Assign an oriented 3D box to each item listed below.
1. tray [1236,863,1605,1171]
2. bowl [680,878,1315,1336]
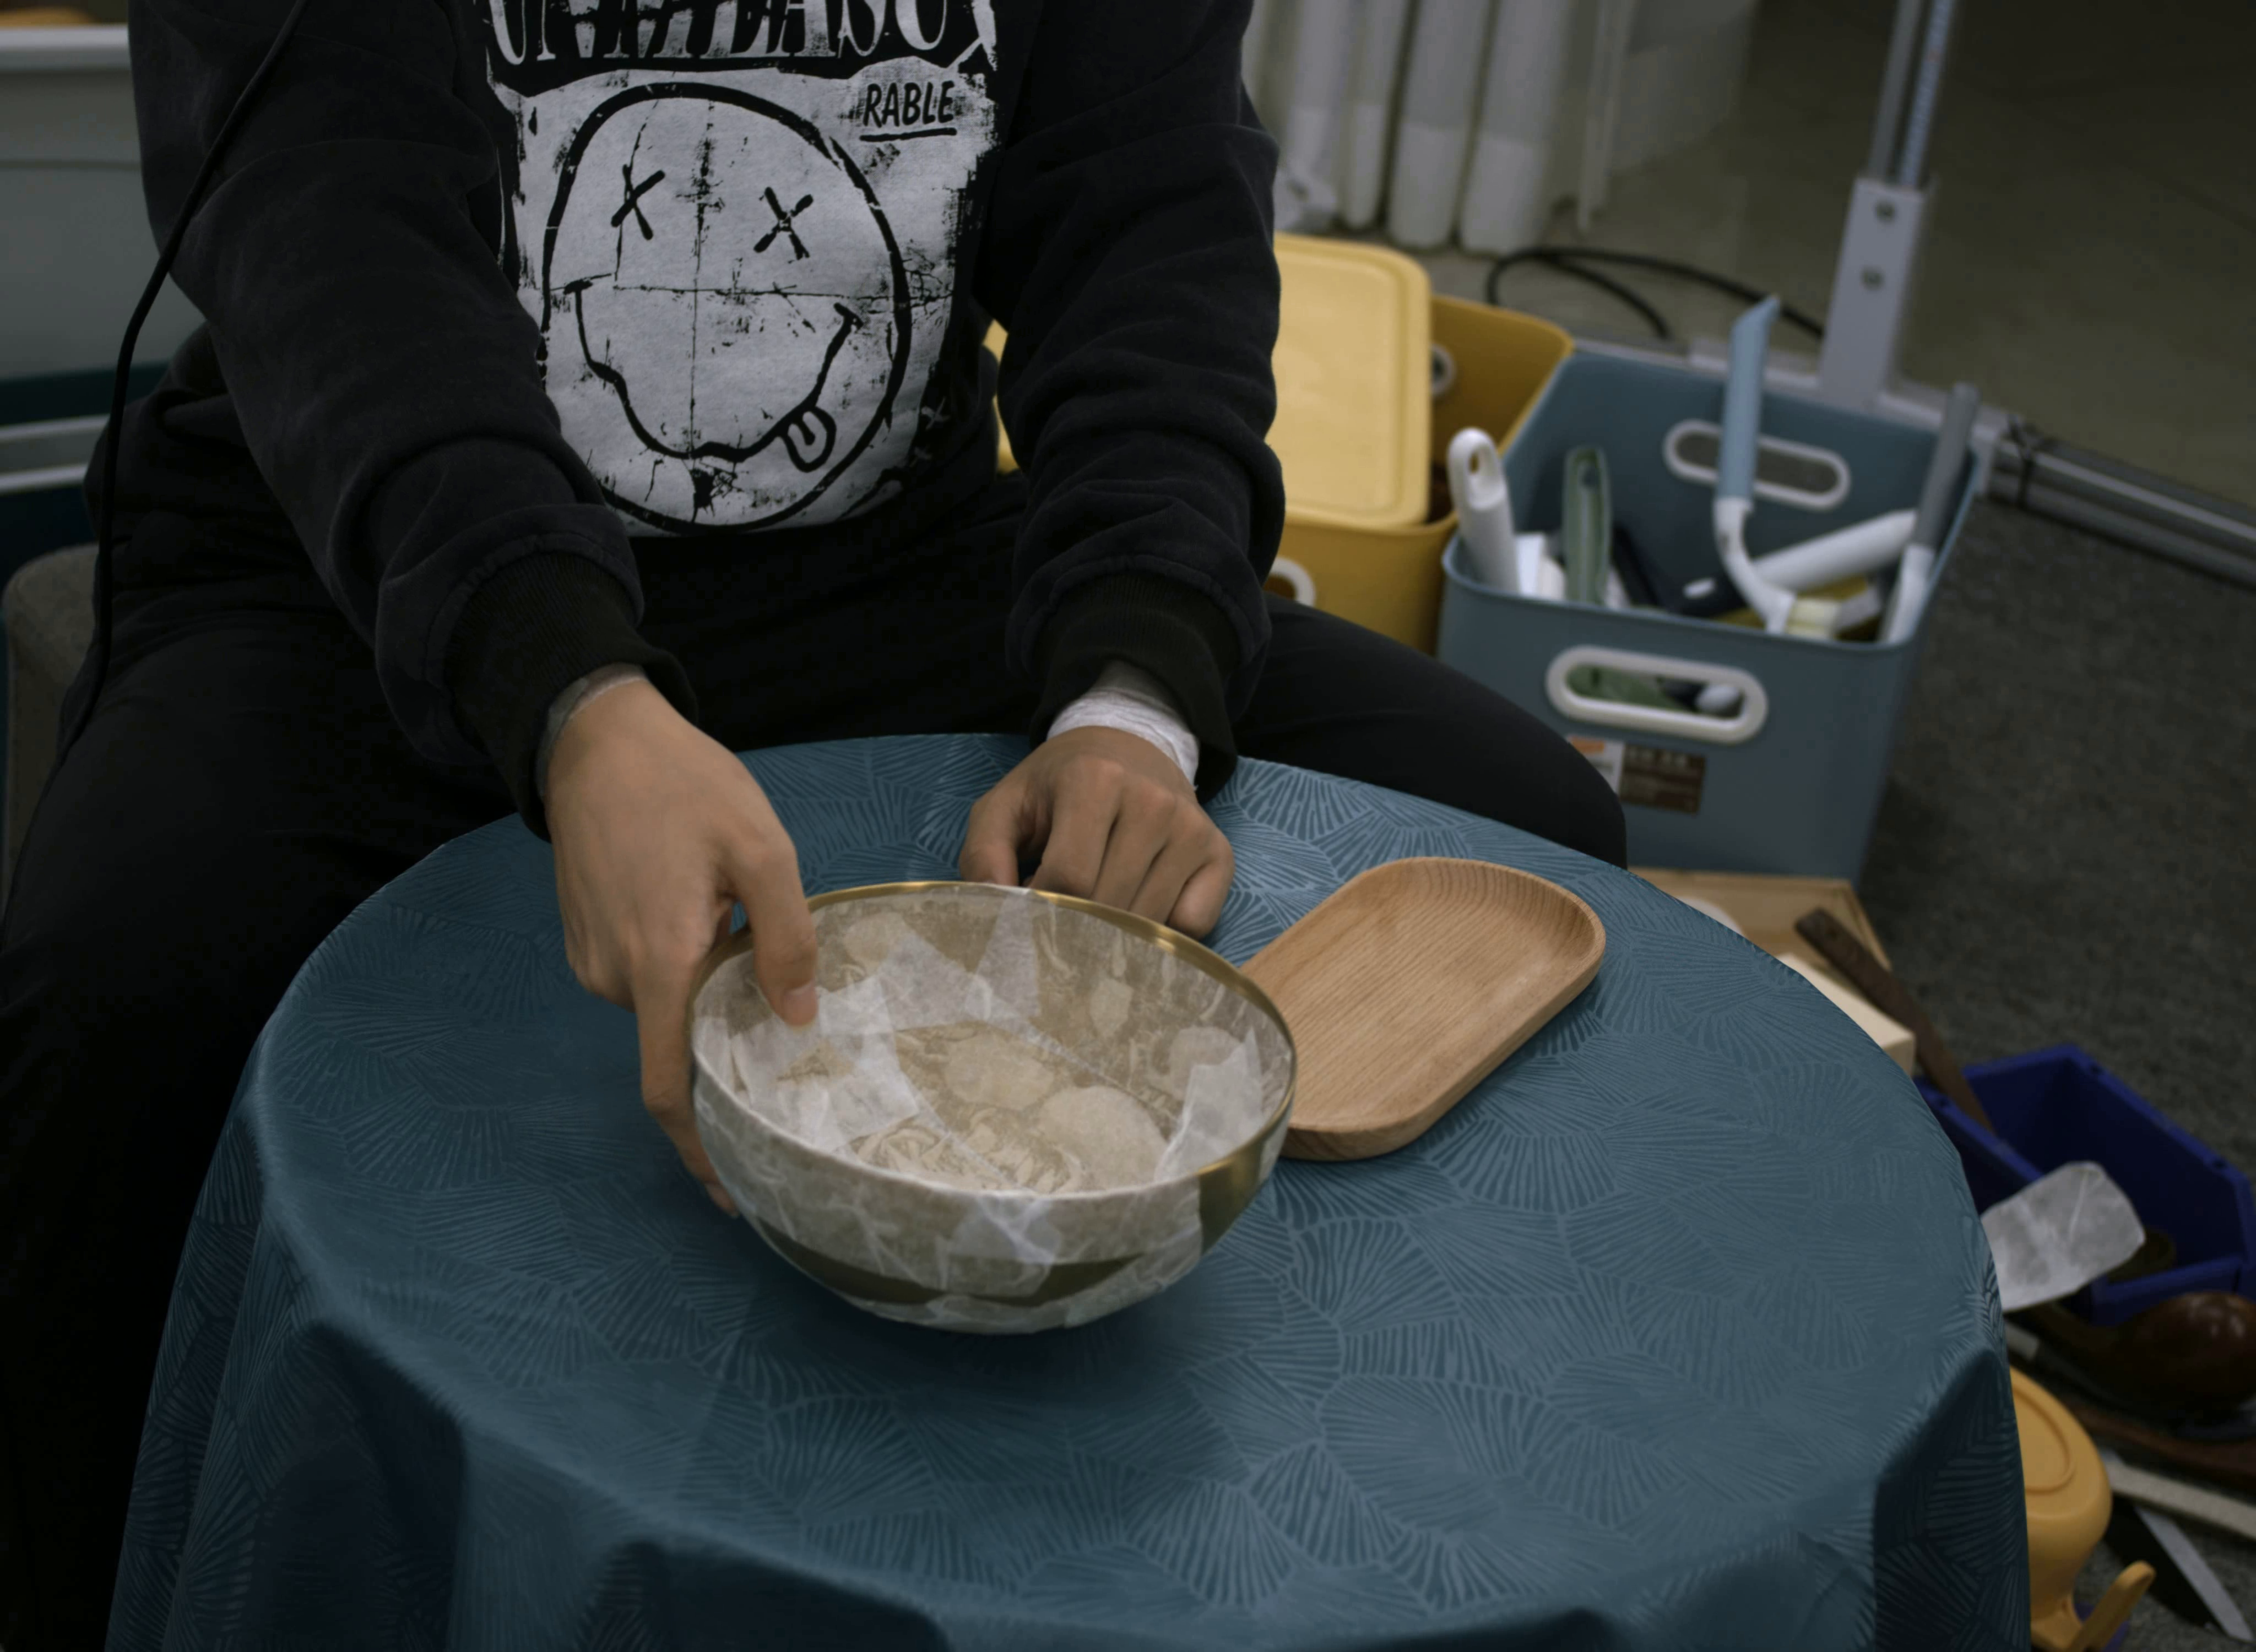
[{"bbox_3d":[0.094,0.067,1.917,0.102,0.020,0.231,17,30,24],"label":"tray"},{"bbox_3d":[-0.046,0.103,1.729,0.214,0.094,0.216,5,27,-3],"label":"bowl"}]
